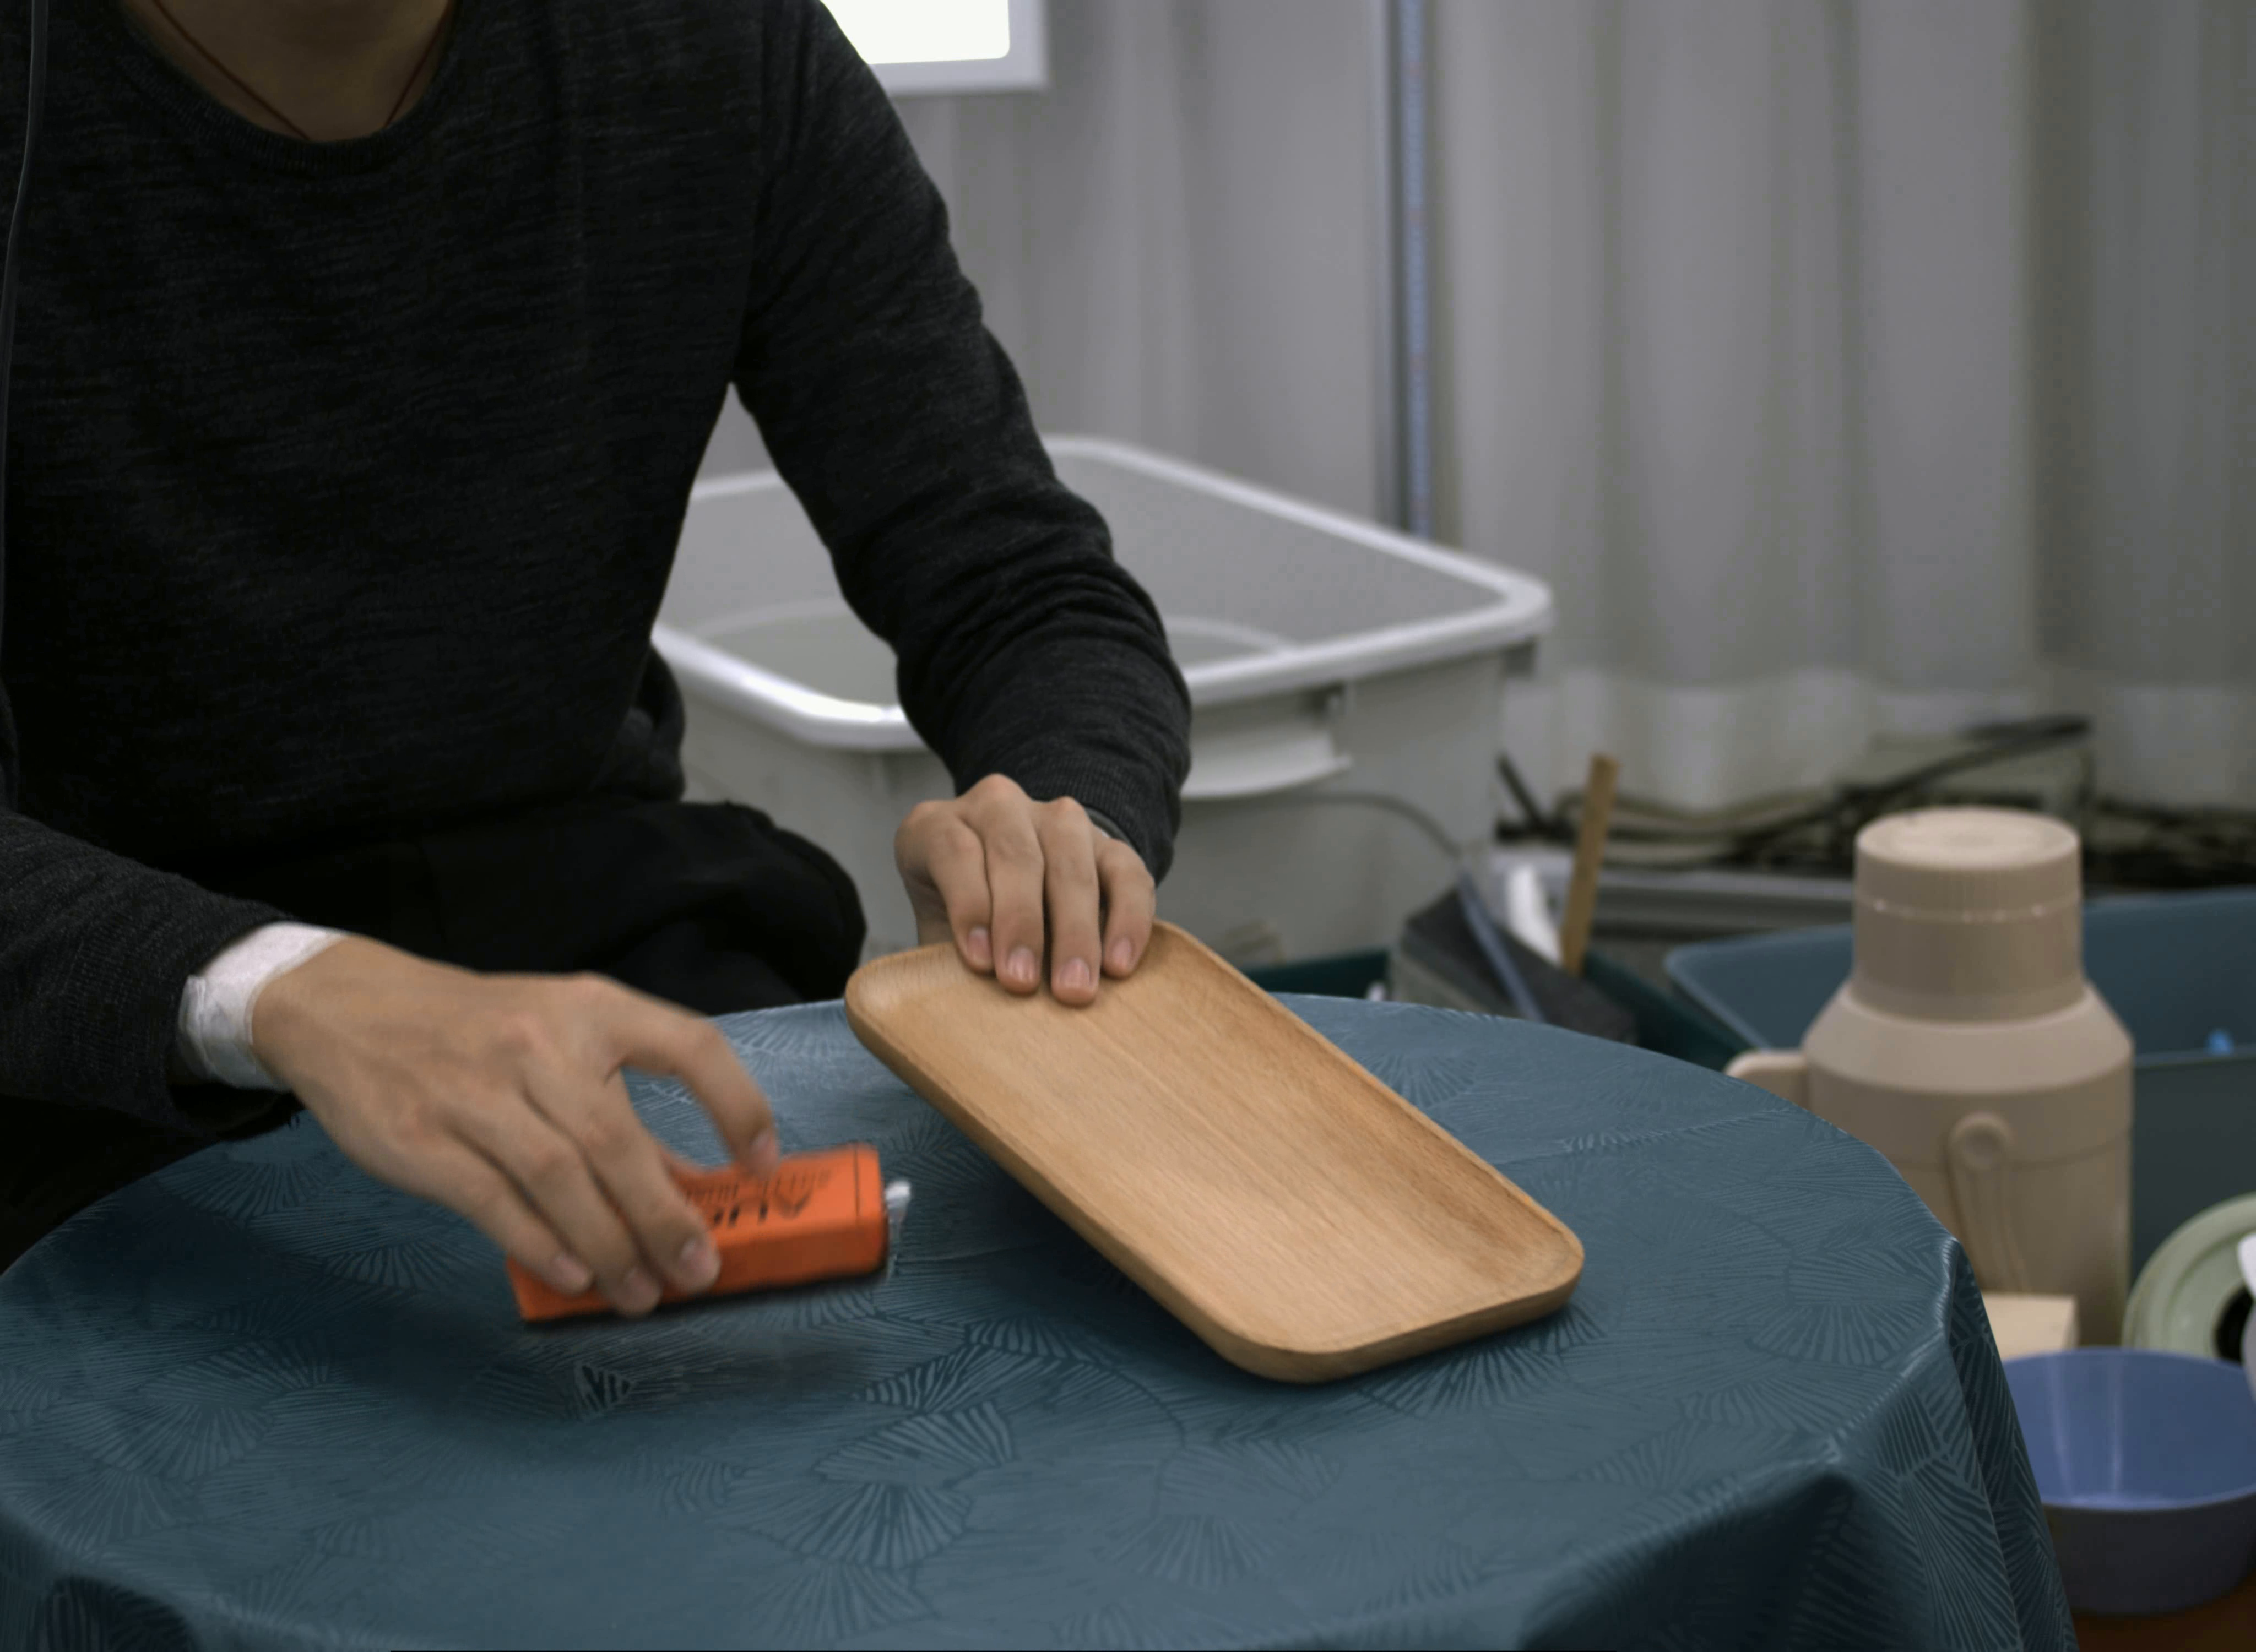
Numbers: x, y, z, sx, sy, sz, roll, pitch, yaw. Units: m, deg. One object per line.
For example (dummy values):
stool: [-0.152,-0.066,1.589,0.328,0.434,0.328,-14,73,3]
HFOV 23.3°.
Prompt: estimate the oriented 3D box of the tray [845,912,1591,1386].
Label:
tray: [0.023,0.094,1.644,0.130,0.023,0.253,-10,29,-33]

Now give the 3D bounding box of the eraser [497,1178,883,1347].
eraser: [-0.124,0.124,1.563,0.107,0.023,0.059,-6,14,0]
